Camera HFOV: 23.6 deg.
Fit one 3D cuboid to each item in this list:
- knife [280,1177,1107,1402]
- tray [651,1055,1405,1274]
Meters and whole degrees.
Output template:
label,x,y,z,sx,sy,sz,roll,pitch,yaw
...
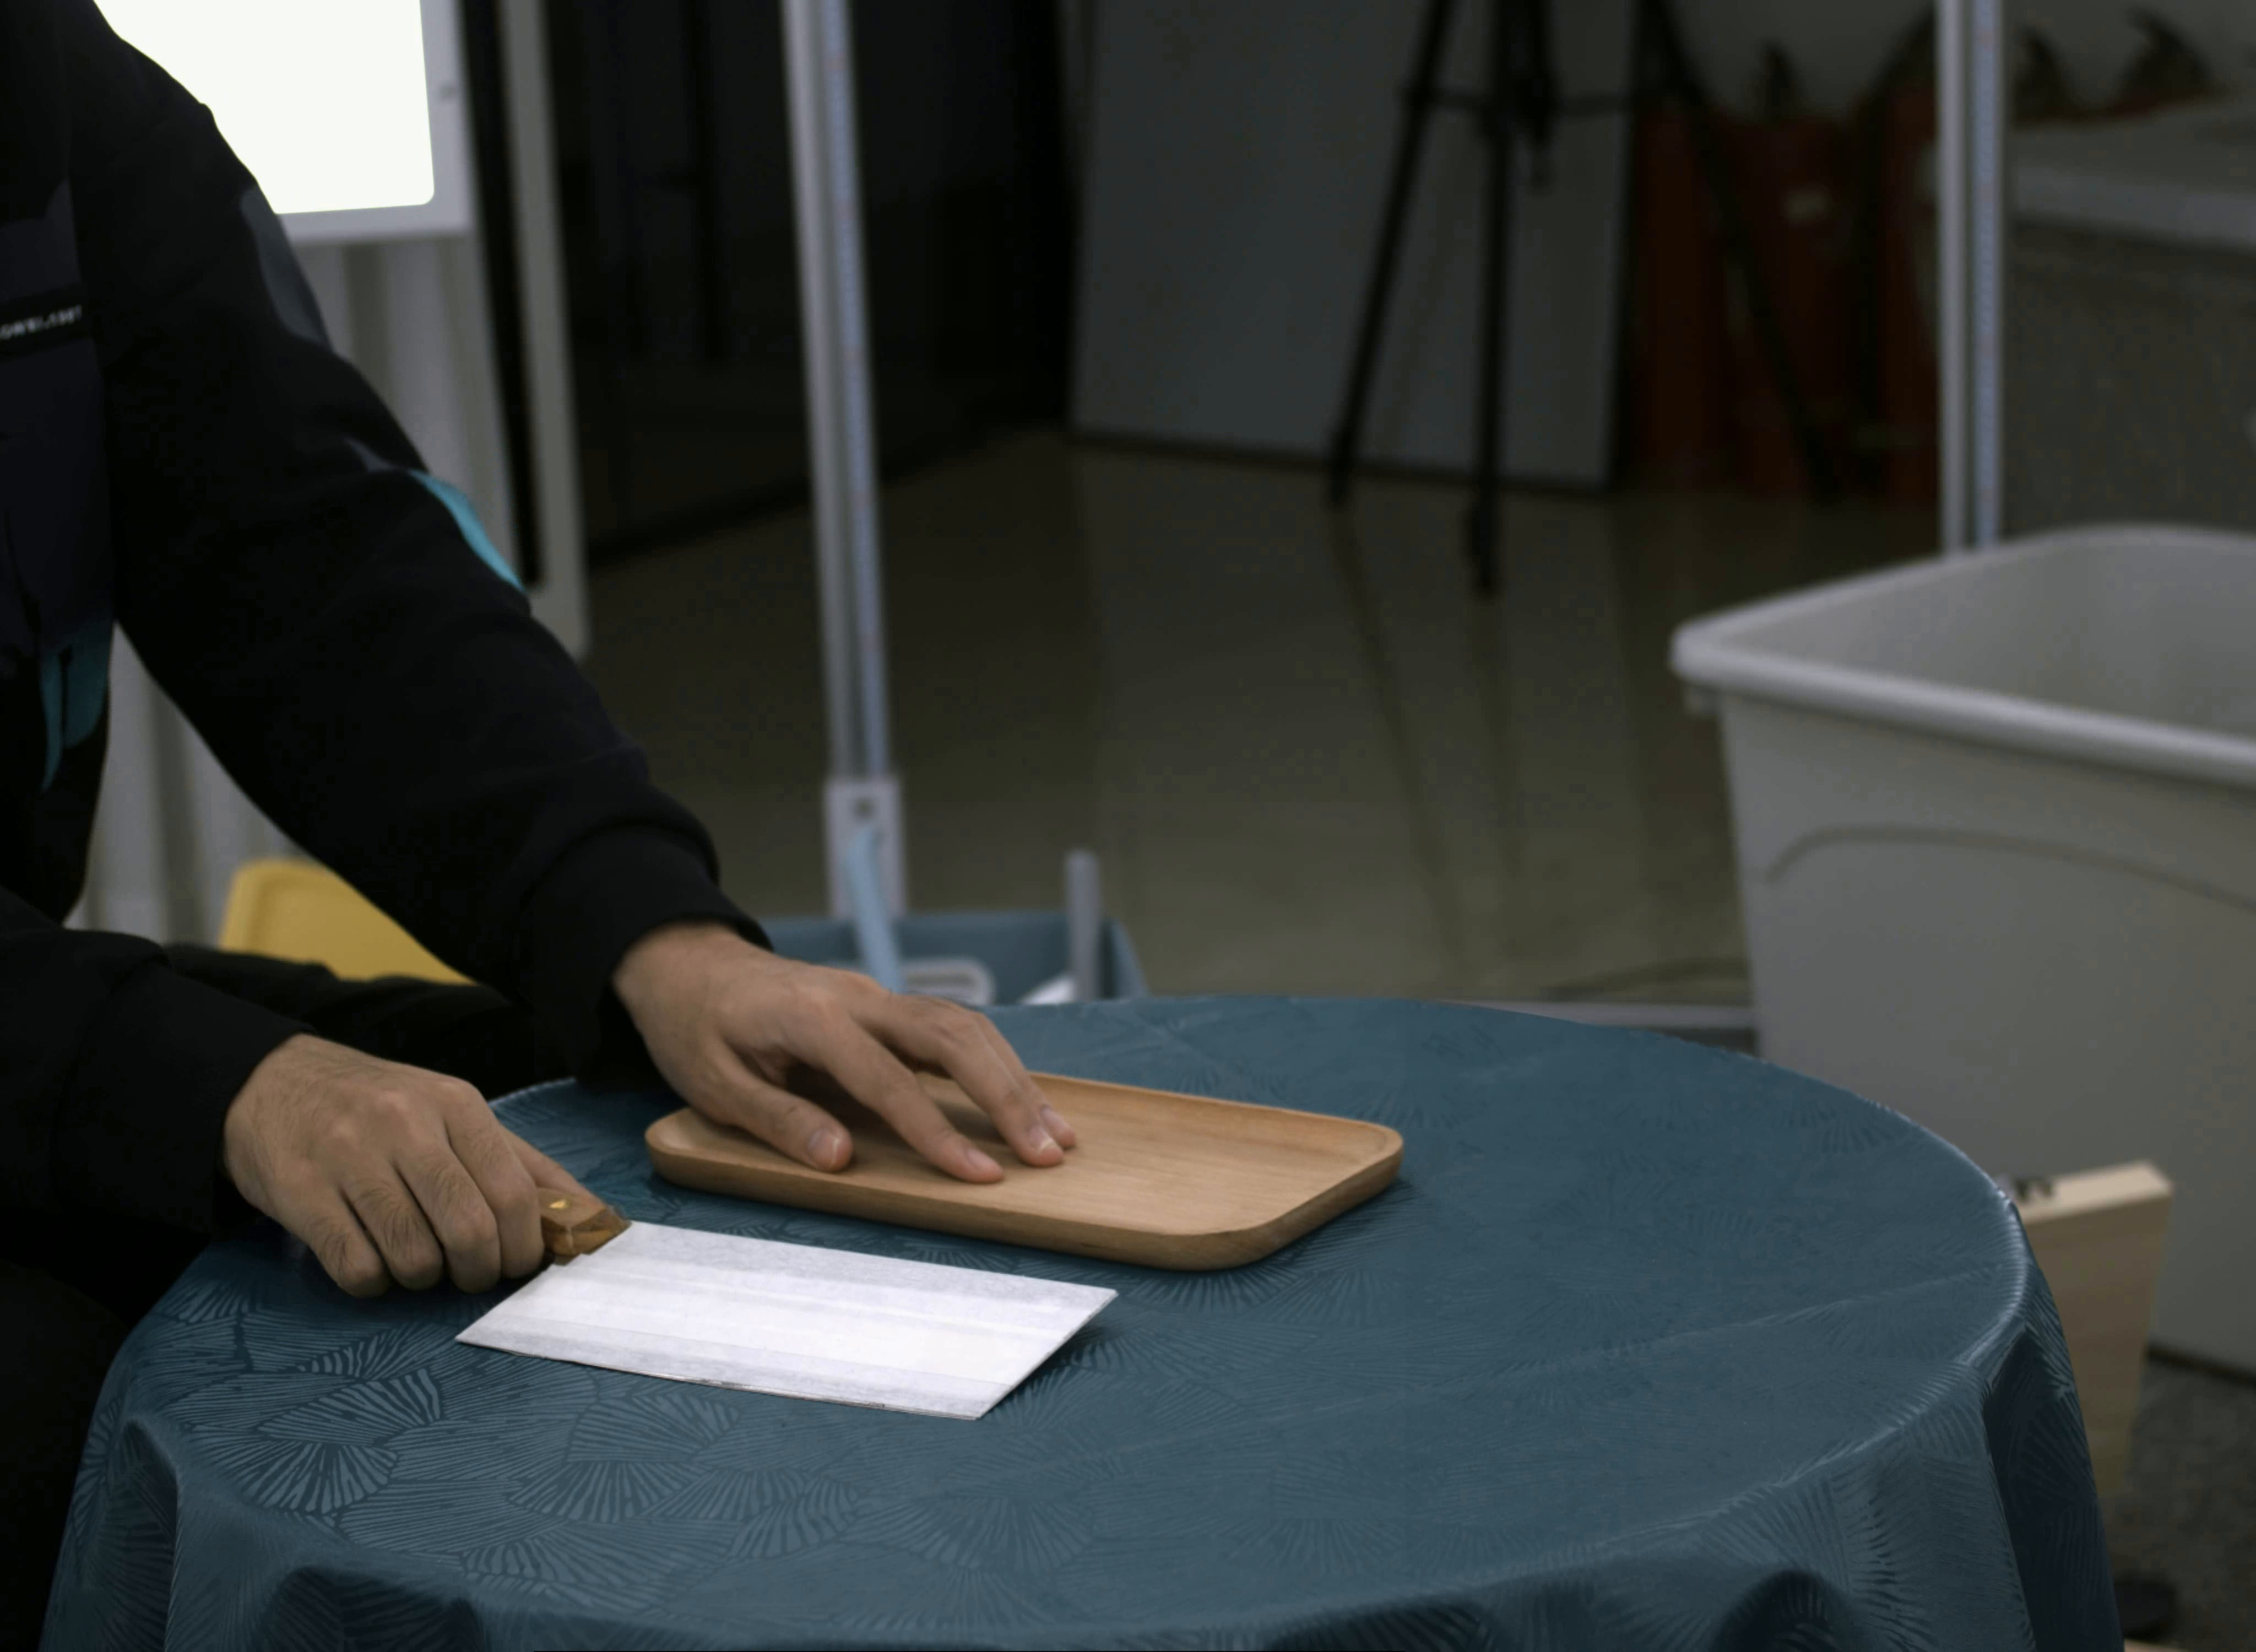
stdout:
label,x,y,z,sx,sy,sz,roll,pitch,yaw
knife,-0.153,0.147,1.684,0.307,0.021,0.092,5,24,31
tray,-0.034,0.111,1.790,0.252,0.023,0.128,5,15,37
